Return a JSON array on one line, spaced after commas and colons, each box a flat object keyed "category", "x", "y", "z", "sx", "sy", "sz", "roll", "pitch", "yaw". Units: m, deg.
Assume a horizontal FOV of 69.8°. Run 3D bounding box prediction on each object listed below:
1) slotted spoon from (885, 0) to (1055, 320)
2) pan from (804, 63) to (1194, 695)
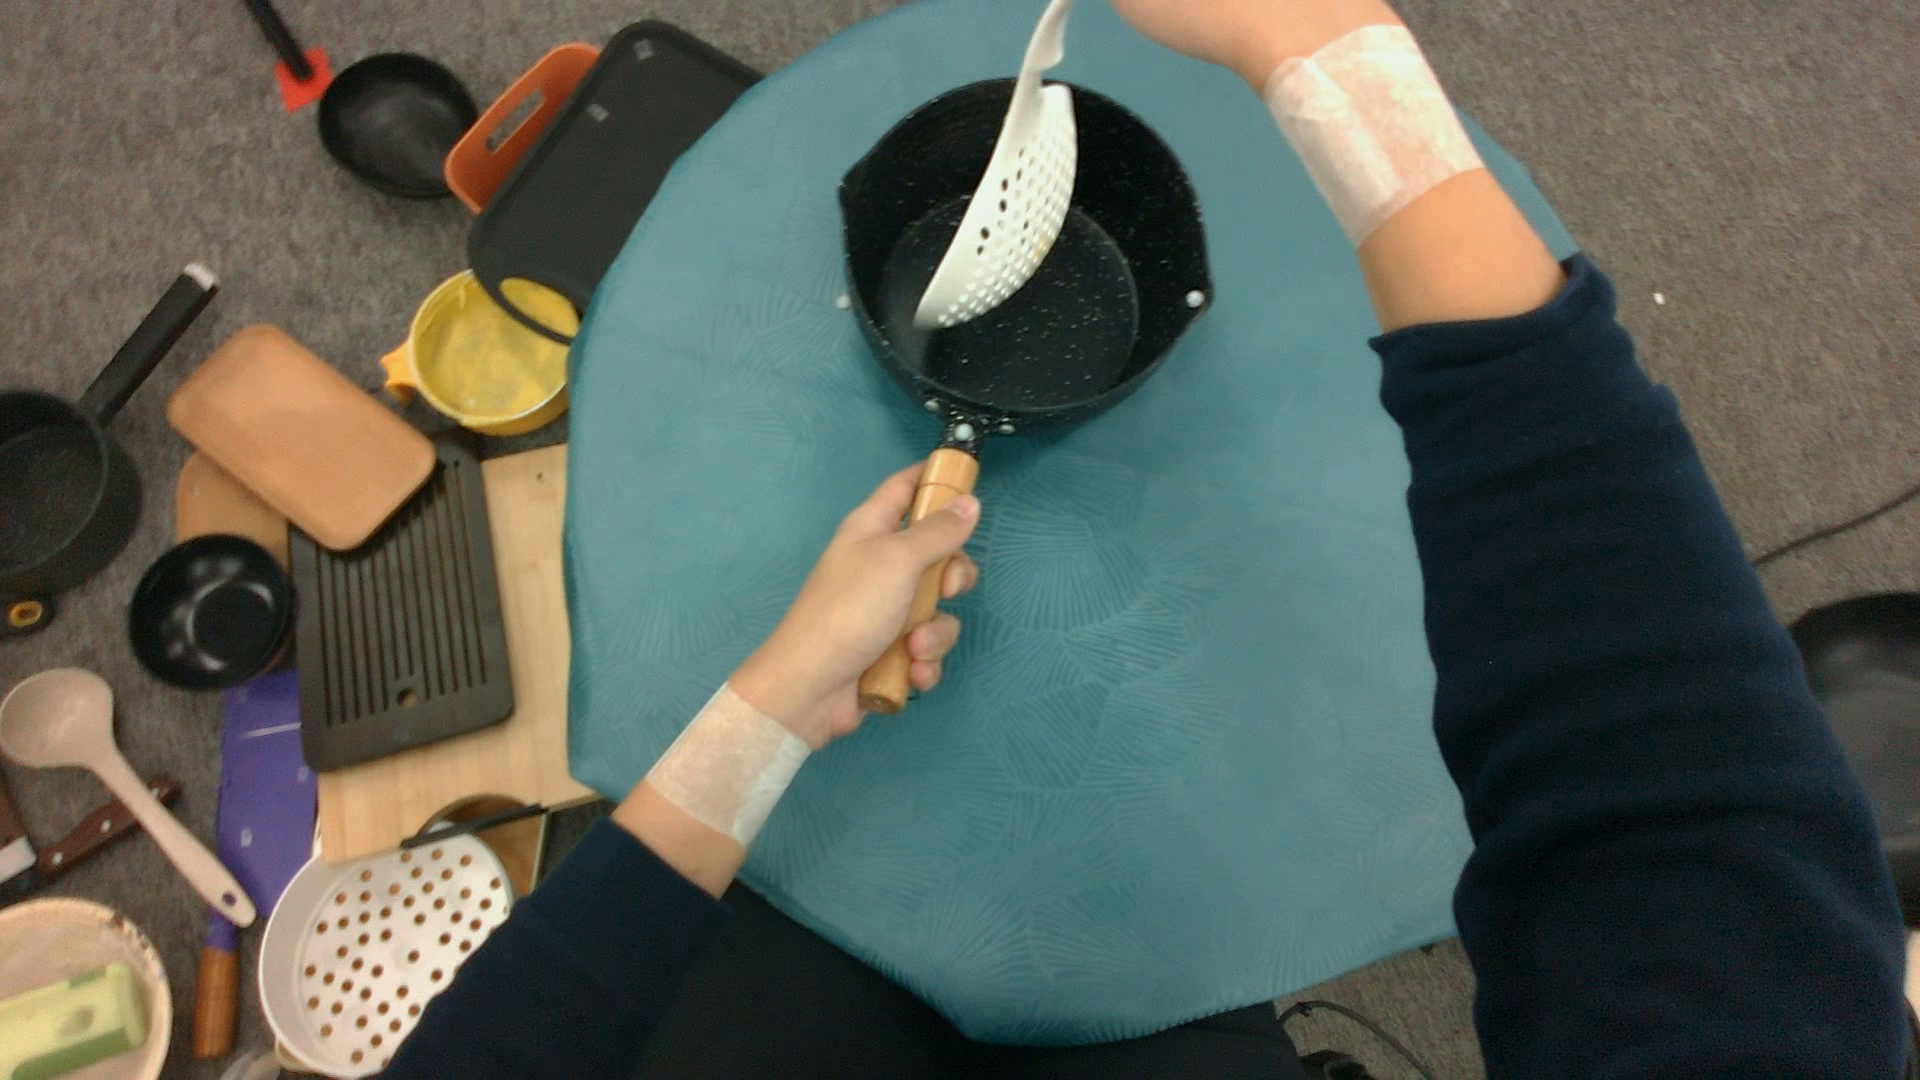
[{"category": "slotted spoon", "x": 0.026, "y": -0.188, "z": 0.605, "sx": 0.050, "sy": 0.347, "sz": 0.137, "roll": 33, "pitch": 77, "yaw": 3}, {"category": "pan", "x": 0.000, "y": -0.078, "z": 0.700, "sx": 0.207, "sy": 0.108, "sz": 0.344, "roll": 15, "pitch": 73, "yaw": -1}]
